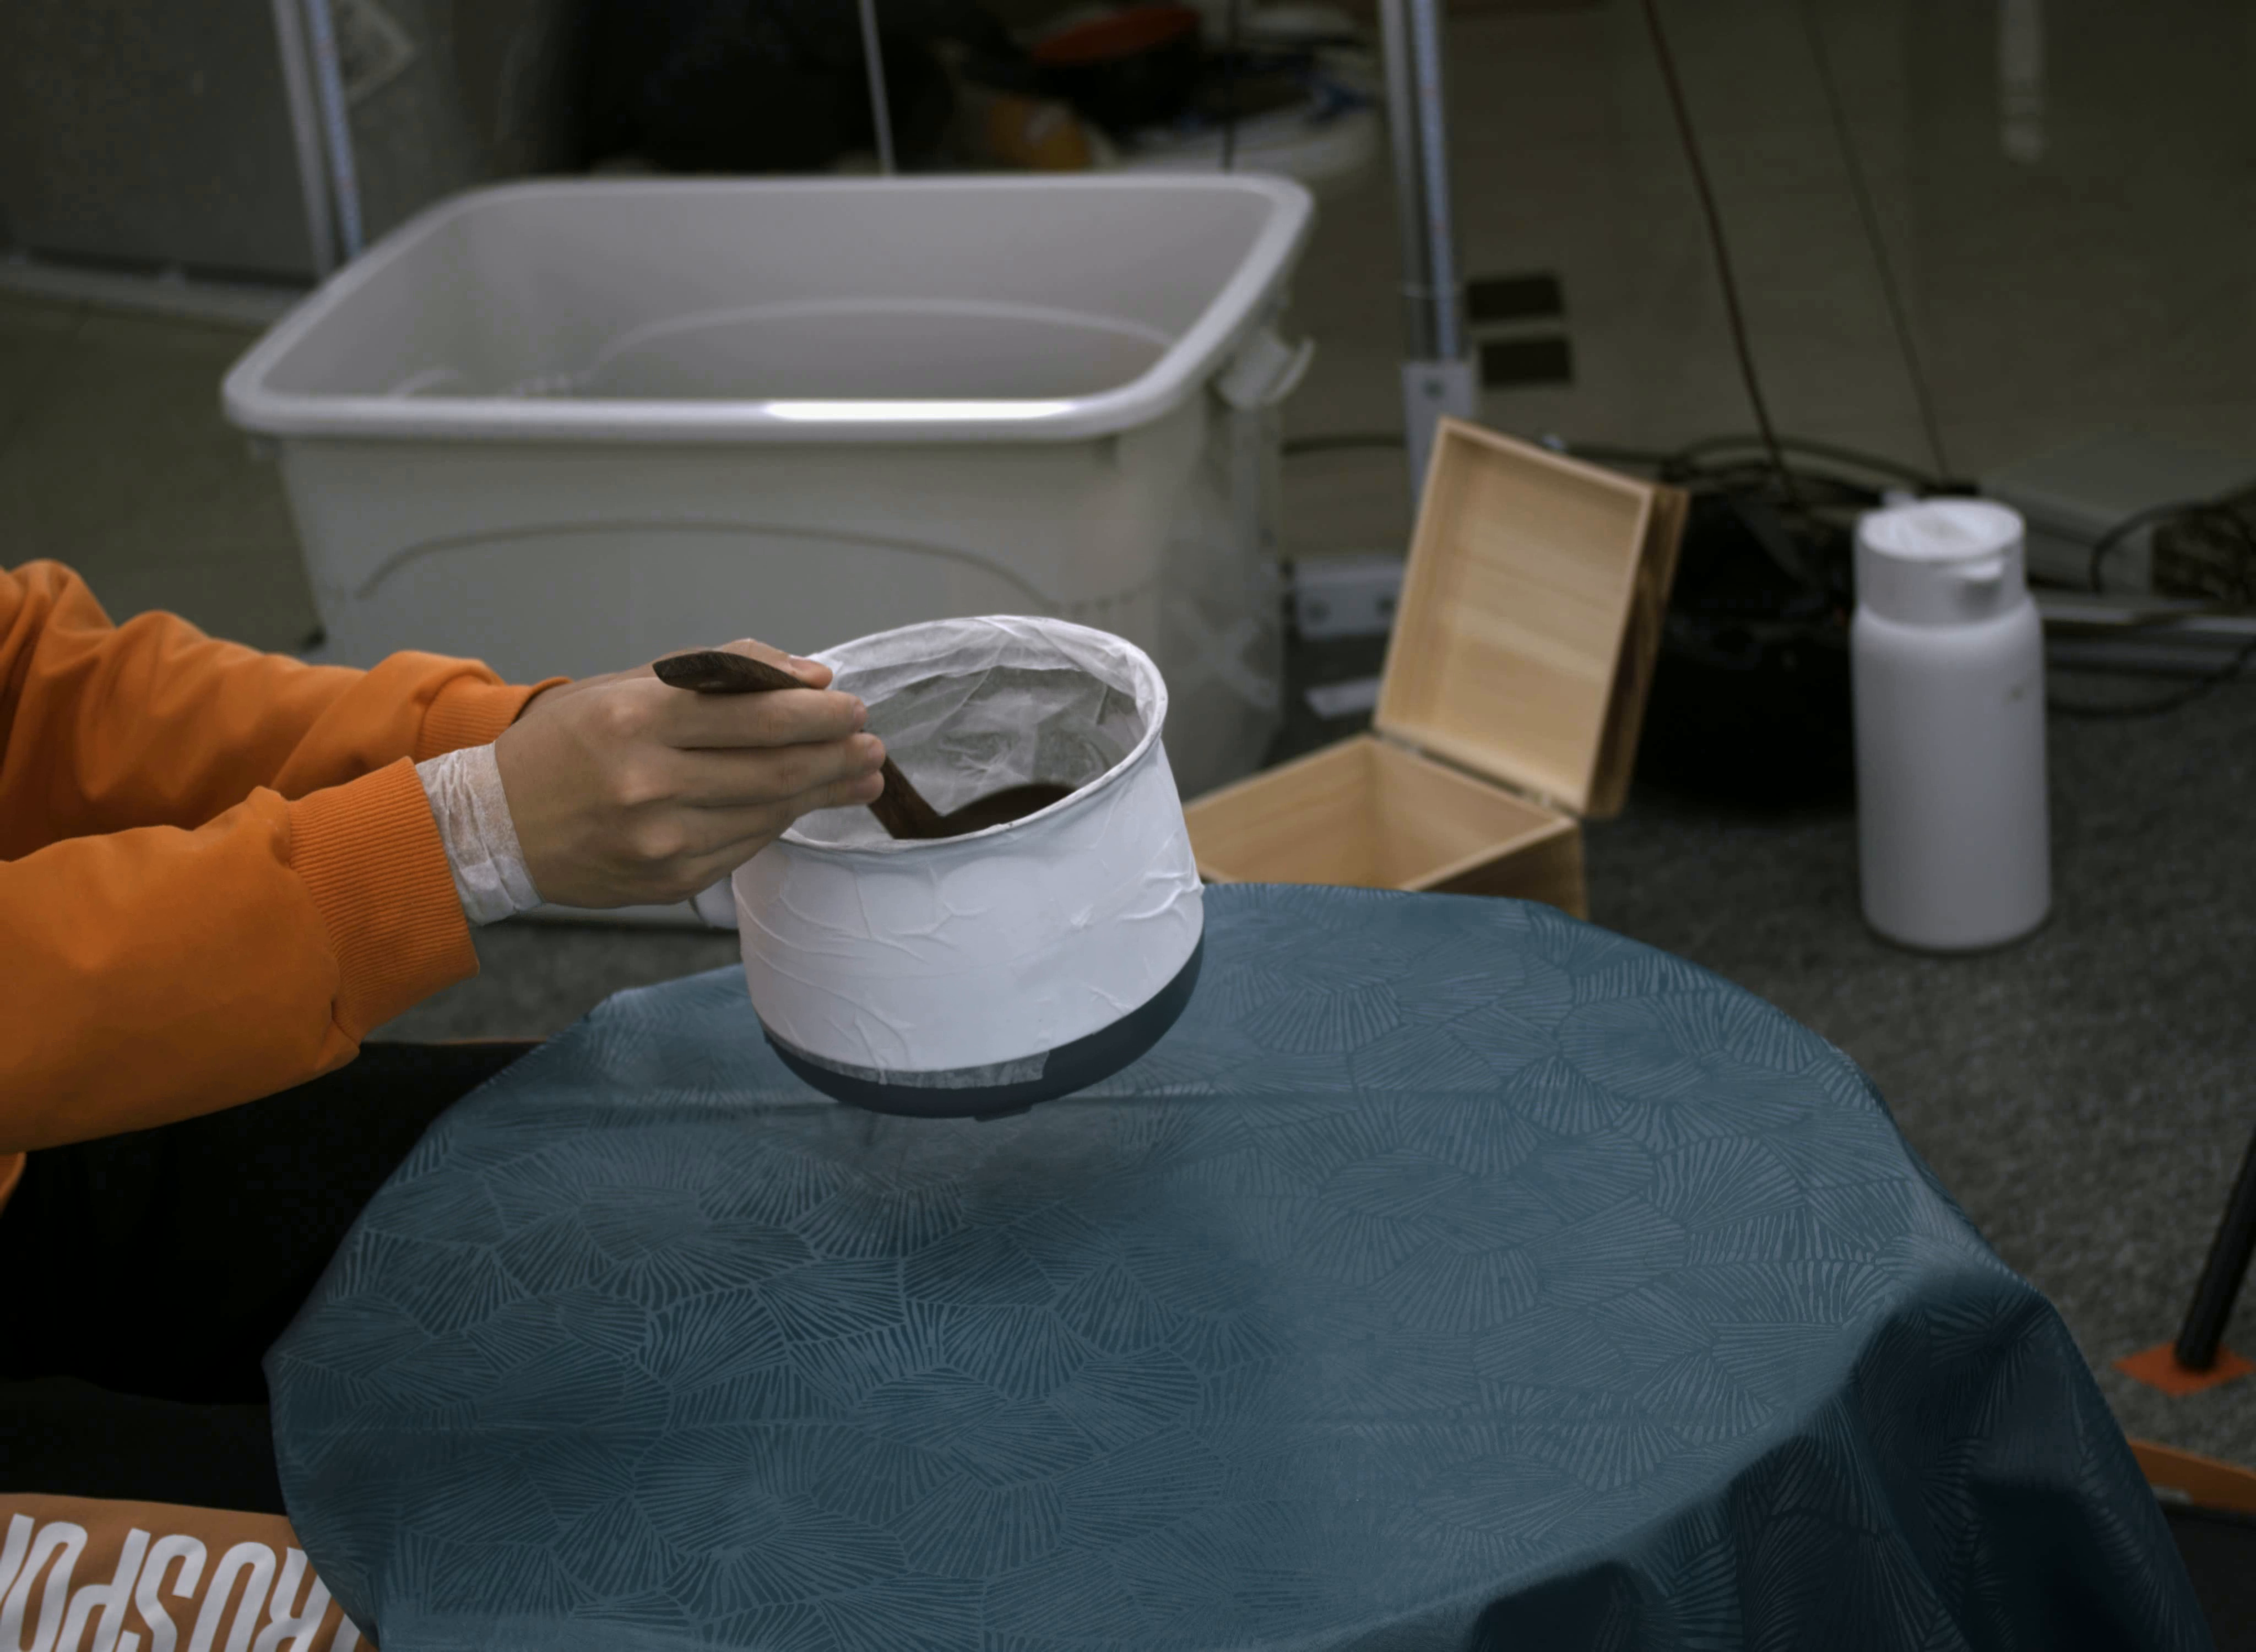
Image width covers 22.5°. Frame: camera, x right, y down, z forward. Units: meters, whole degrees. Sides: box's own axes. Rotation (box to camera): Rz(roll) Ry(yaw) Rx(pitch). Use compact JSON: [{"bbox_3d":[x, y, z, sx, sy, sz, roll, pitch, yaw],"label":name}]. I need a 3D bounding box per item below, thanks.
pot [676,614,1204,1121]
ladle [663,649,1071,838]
[{"bbox_3d":[-0.085,0.012,2.163,0.232,0.139,0.176,15,38,36],"label":"pot"},{"bbox_3d":[-0.094,-0.032,2.050,0.076,0.277,0.070,-15,62,20],"label":"ladle"}]
